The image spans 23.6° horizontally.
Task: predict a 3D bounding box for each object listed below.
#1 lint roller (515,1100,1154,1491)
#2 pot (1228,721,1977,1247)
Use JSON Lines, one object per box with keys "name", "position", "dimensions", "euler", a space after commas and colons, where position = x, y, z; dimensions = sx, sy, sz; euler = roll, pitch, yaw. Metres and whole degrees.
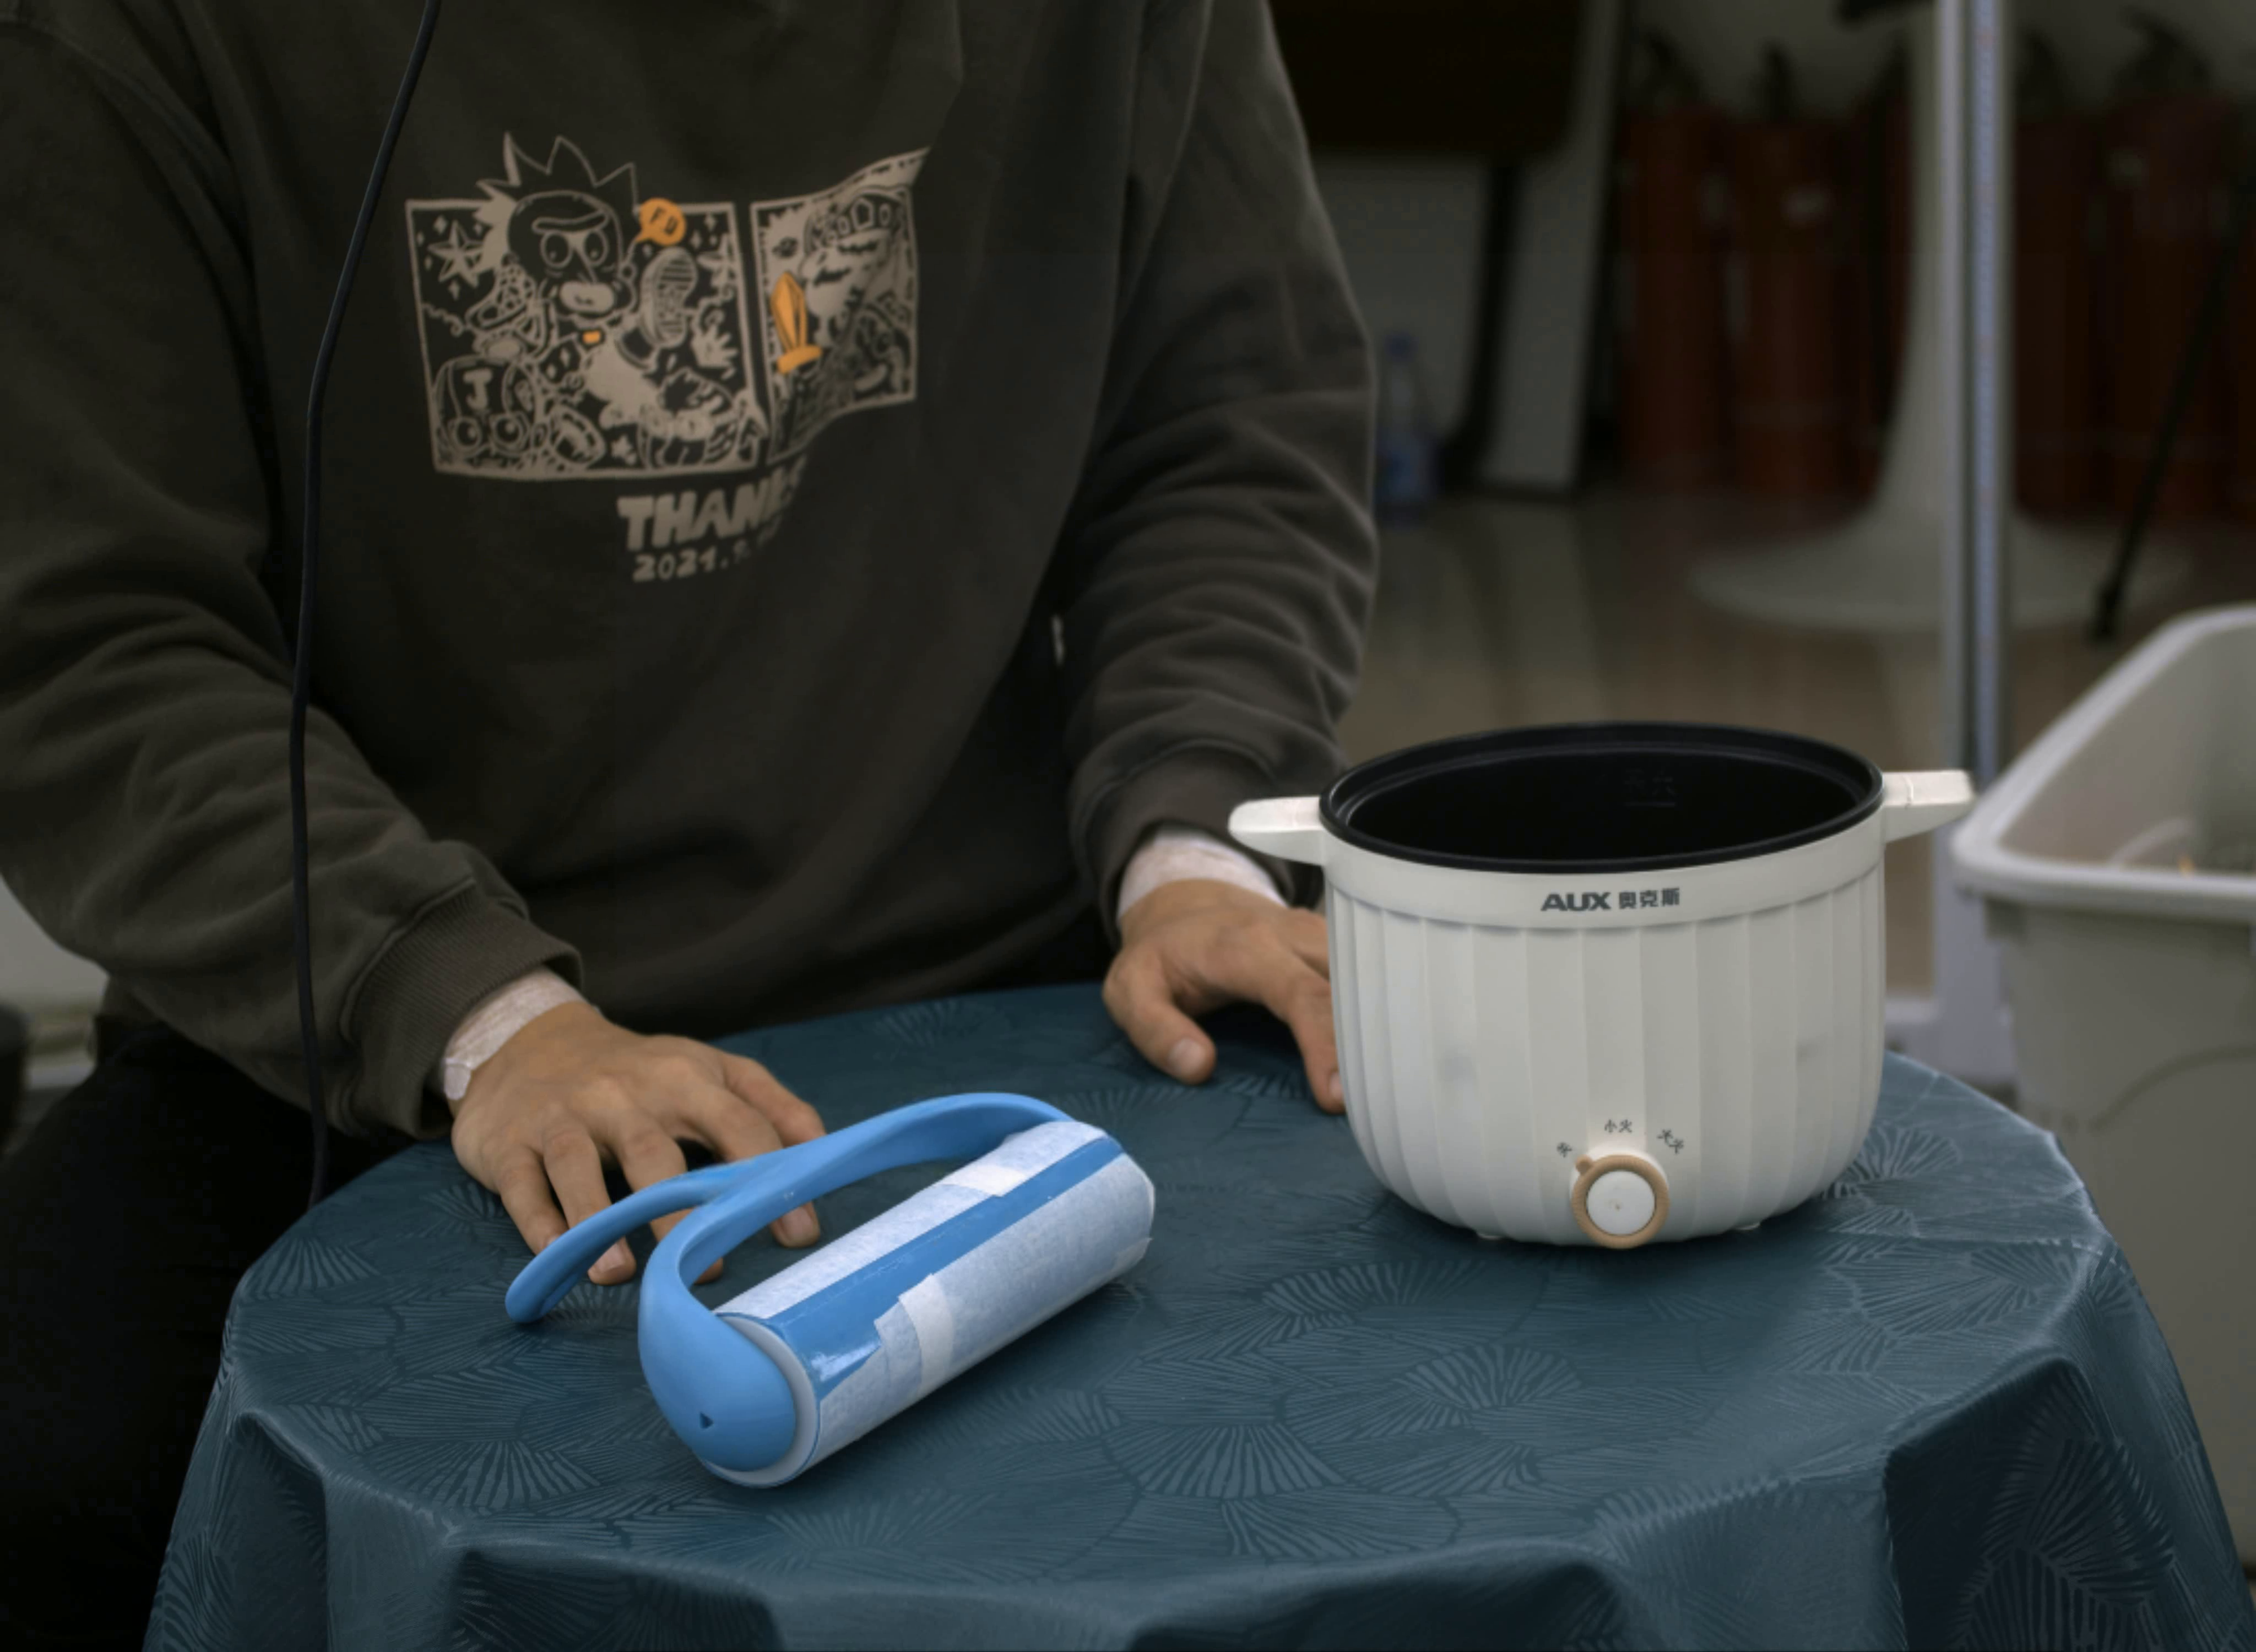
{"name": "lint roller", "position": [-0.113, 0.135, 1.631], "dimensions": [0.181, 0.068, 0.226], "euler": [4, 17, 28]}
{"name": "pot", "position": [0.155, 0.053, 1.716], "dimensions": [0.238, 0.144, 0.190], "euler": [-4, 10, 5]}
